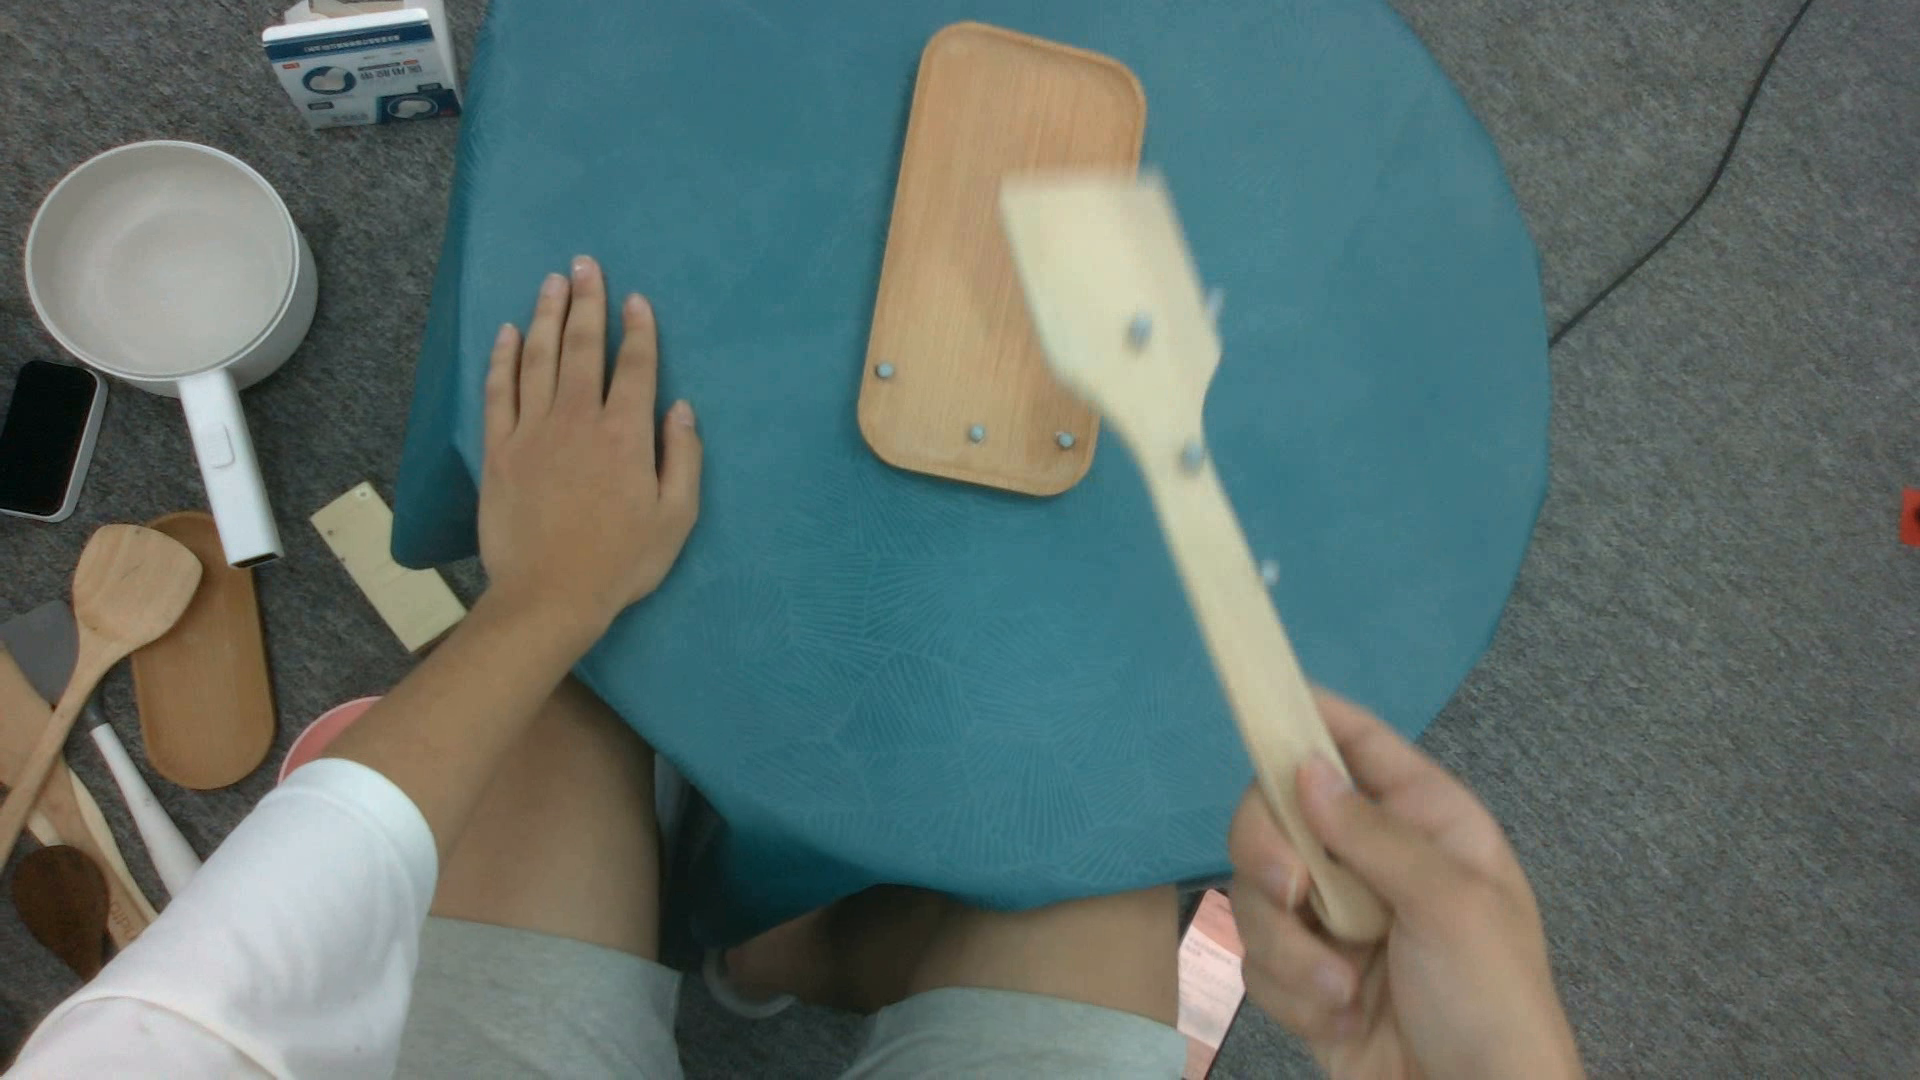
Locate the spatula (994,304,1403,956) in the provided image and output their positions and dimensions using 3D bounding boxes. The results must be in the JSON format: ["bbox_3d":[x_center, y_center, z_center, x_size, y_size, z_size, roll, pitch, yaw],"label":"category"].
[{"bbox_3d":[0.086,0.013,0.502,0.072,0.010,0.294,-7,52,-17],"label":"spatula"}]

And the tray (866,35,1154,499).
[{"bbox_3d":[0.029,-0.150,0.750,0.130,0.023,0.251,12,79,-10],"label":"tray"}]
